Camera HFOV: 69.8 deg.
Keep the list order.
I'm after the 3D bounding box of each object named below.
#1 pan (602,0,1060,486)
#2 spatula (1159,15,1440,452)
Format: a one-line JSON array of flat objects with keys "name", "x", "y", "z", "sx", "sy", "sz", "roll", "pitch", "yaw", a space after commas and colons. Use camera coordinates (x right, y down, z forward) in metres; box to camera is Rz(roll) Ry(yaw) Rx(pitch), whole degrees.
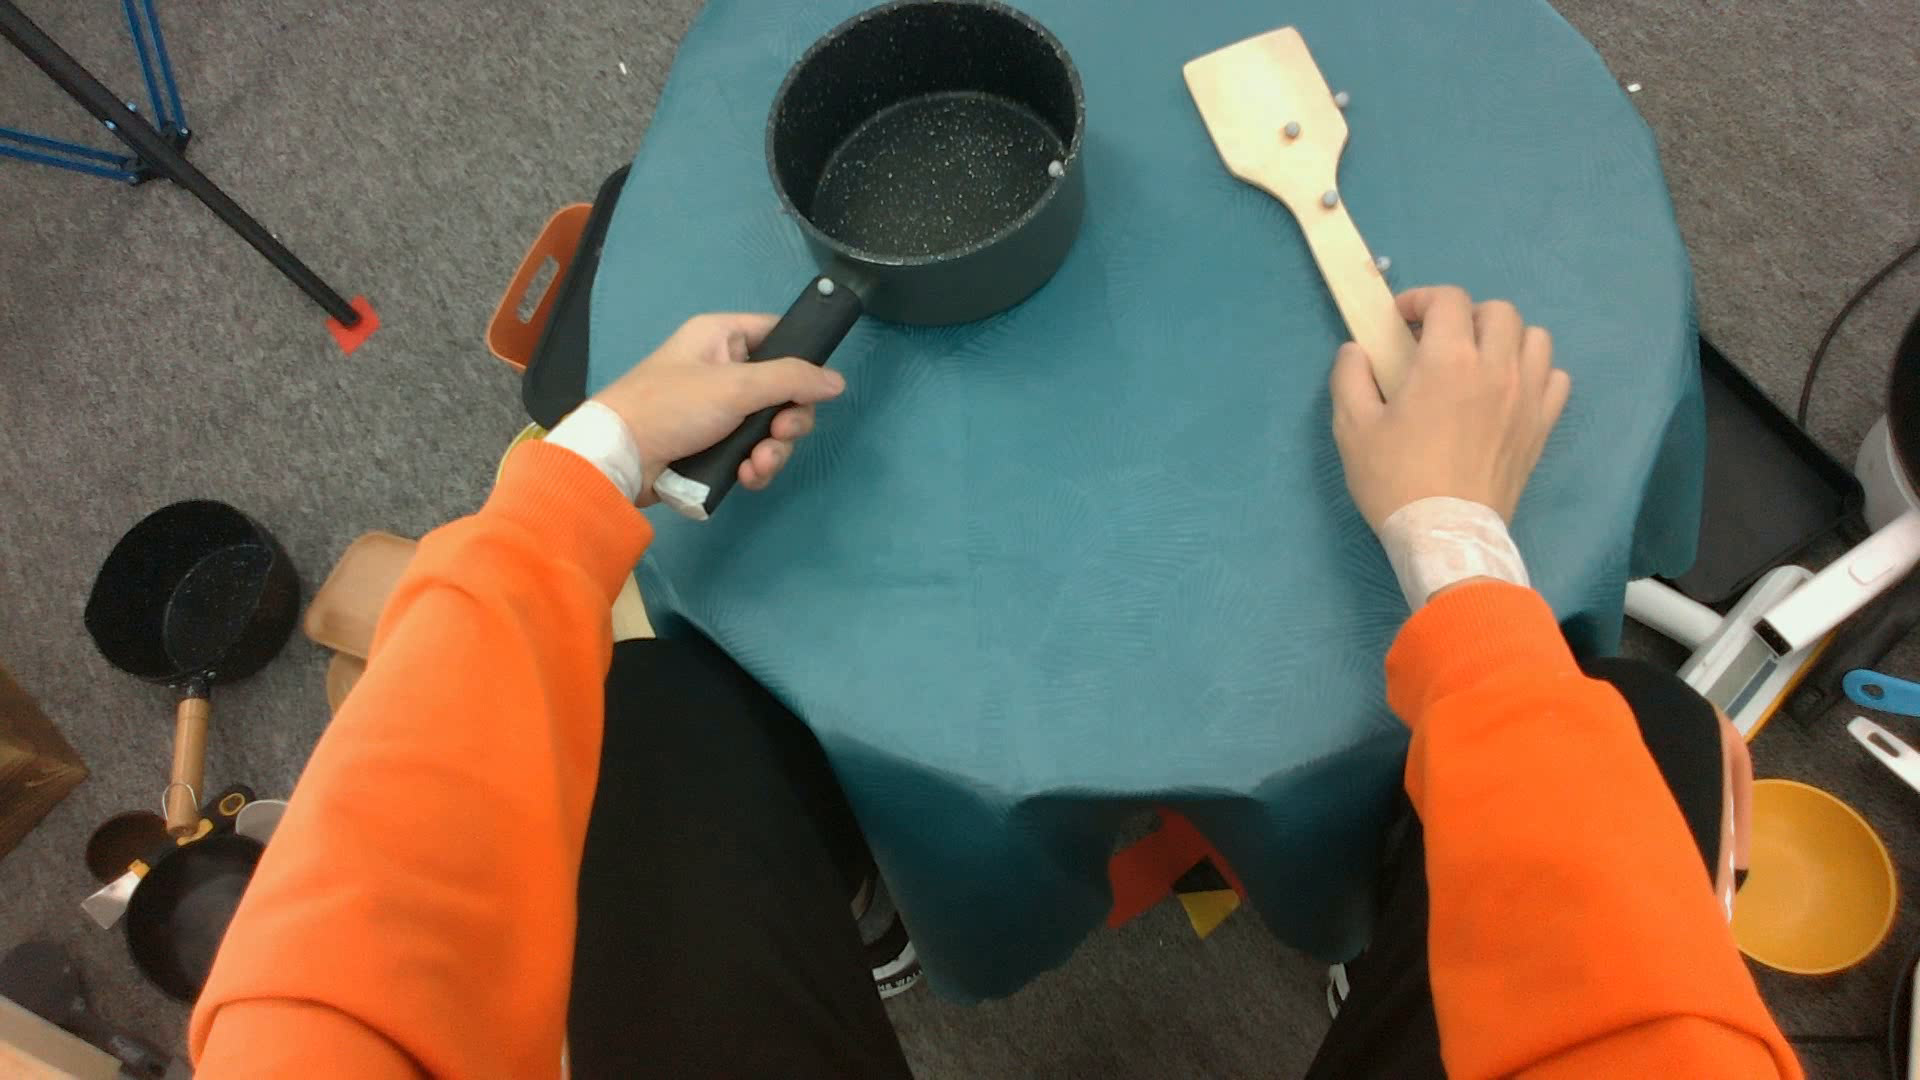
[{"name": "pan", "x": -0.069, "y": -0.153, "z": 0.732, "sx": 0.172, "sy": 0.086, "sz": 0.329, "roll": 27, "pitch": 73, "yaw": 17}, {"name": "spatula", "x": 0.187, "y": -0.171, "z": 0.739, "sx": 0.072, "sy": 0.010, "sz": 0.294, "roll": -17, "pitch": 64, "yaw": 0}]
